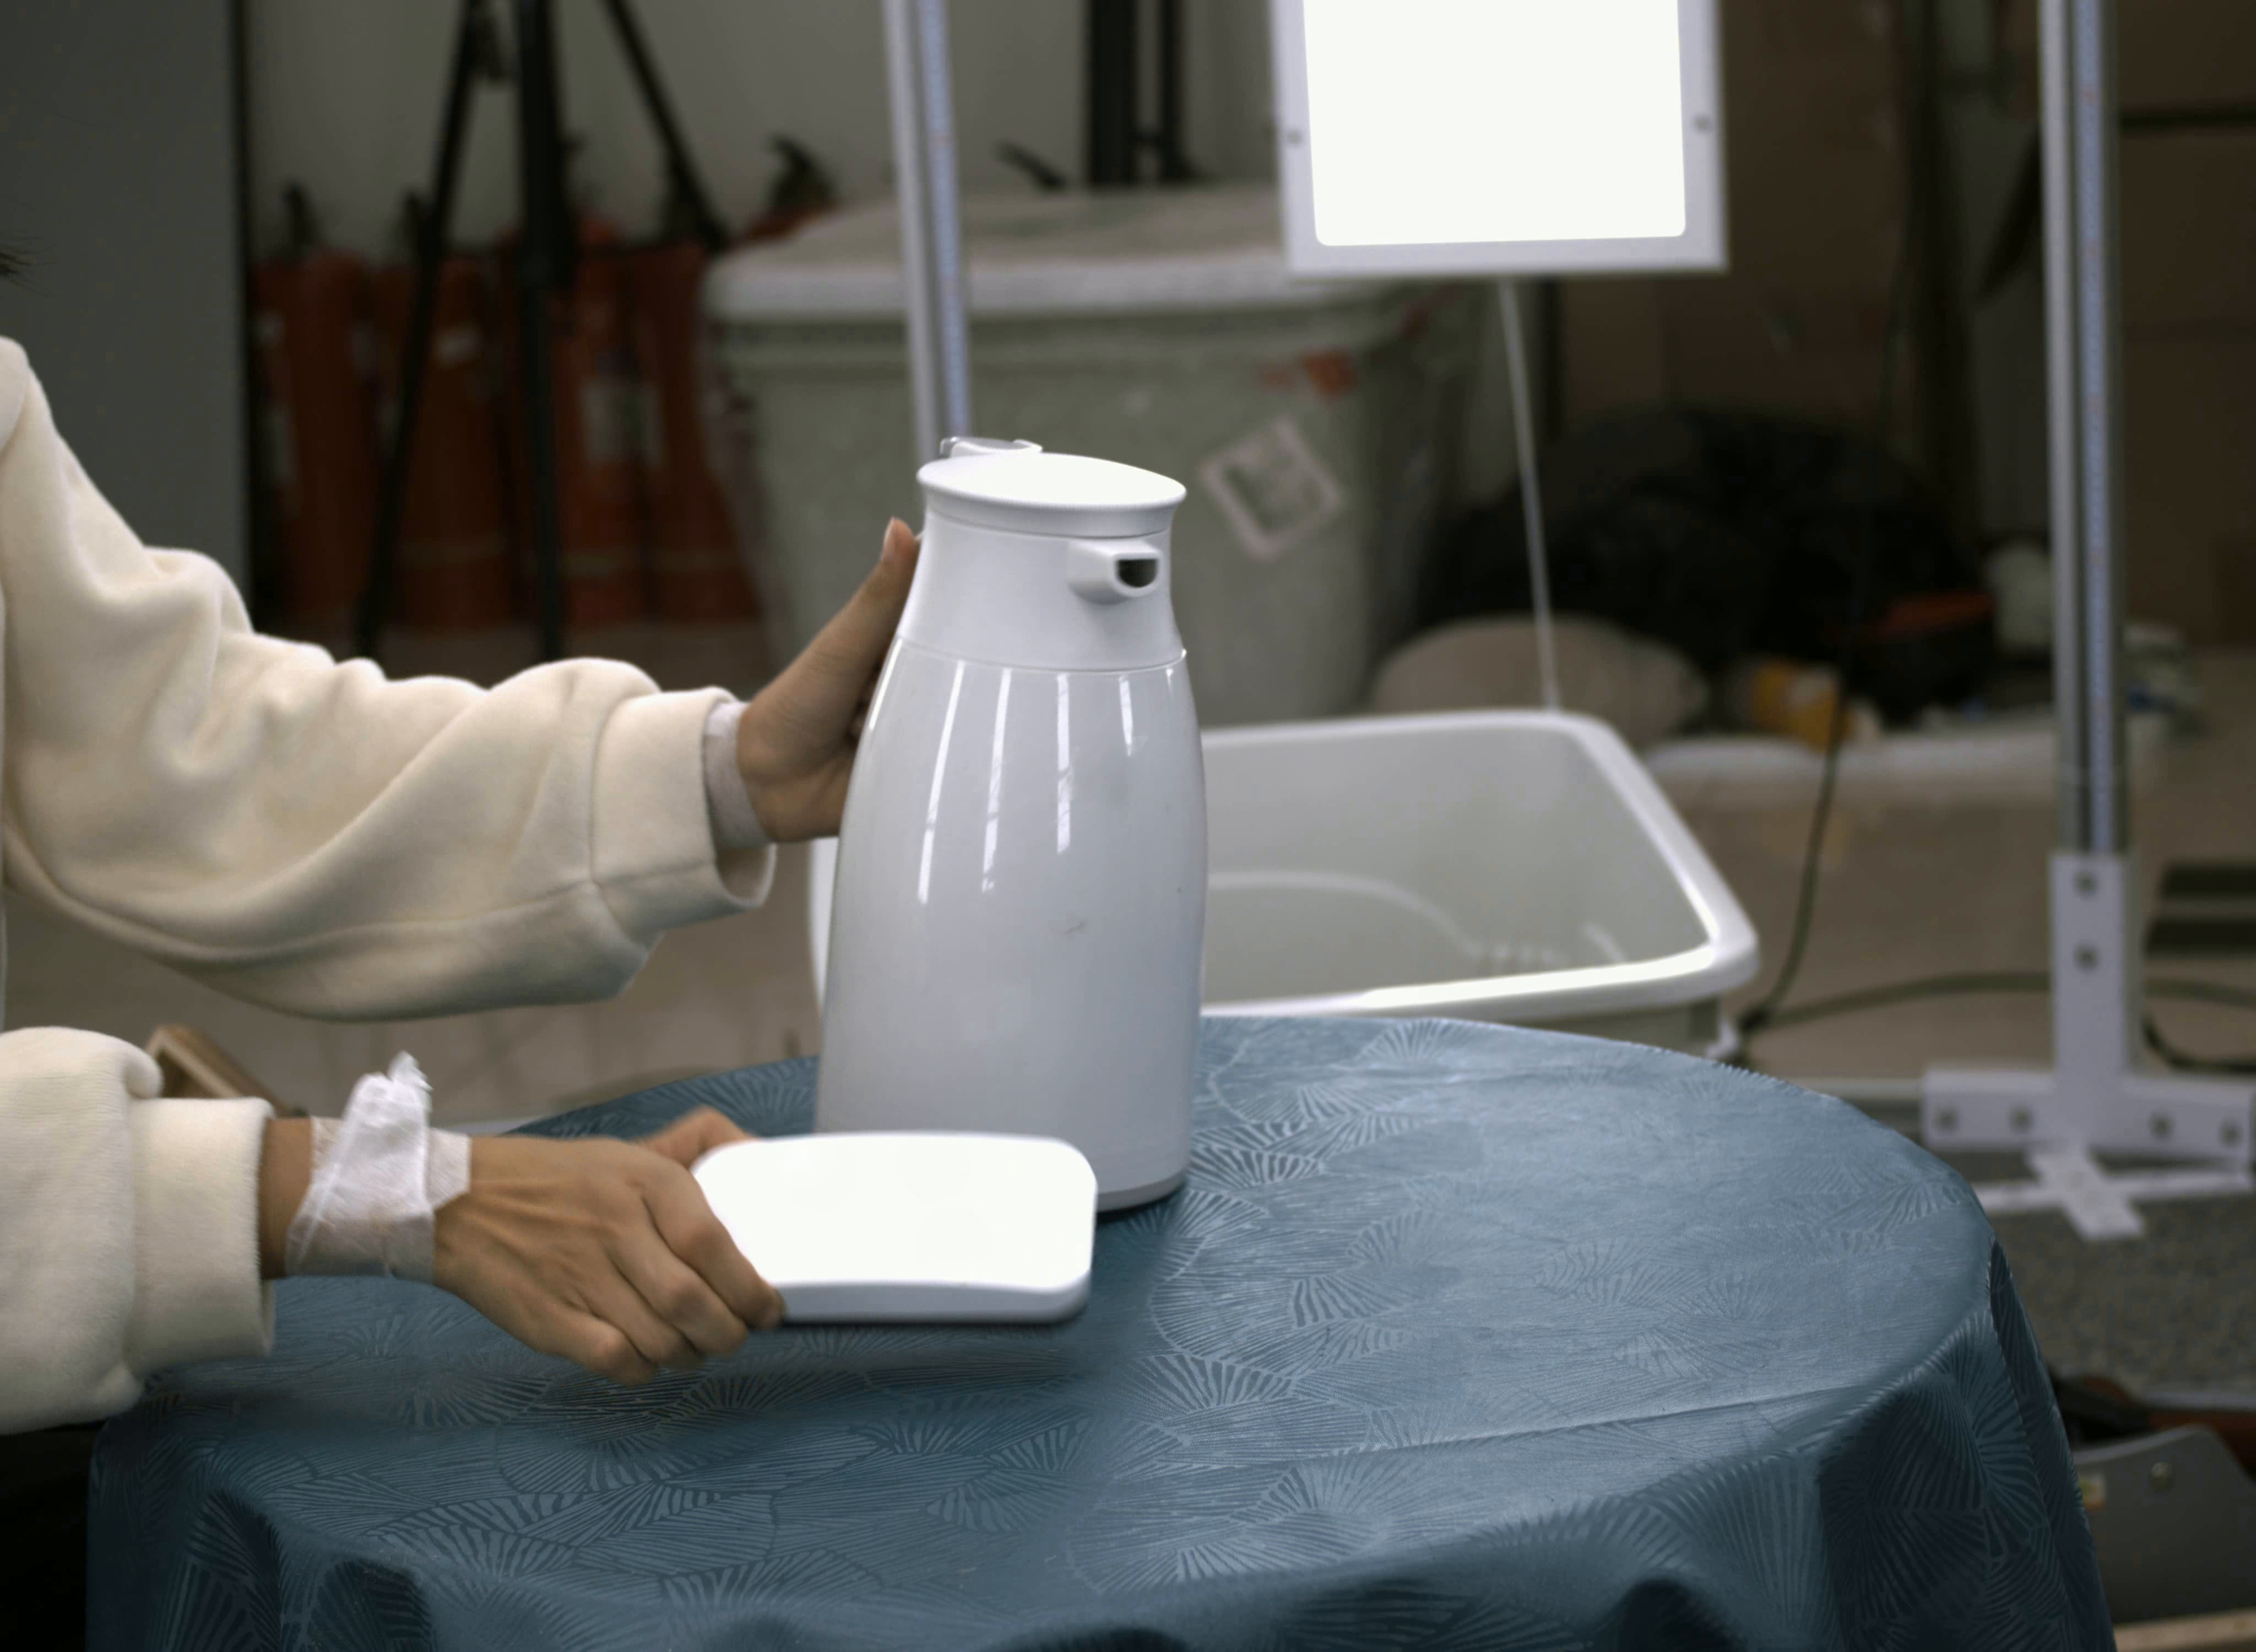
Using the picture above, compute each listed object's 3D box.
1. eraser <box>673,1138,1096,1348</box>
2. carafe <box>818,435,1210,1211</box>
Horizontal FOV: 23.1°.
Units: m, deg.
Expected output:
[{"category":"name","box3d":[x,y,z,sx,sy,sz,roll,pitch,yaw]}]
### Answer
[{"category":"eraser","box3d":[-0.075,0.132,1.729,0.132,0.034,0.063,0,42,8]},{"category":"carafe","box3d":[-0.045,-0.008,1.903,0.129,0.250,0.170,-4,15,-29]}]
